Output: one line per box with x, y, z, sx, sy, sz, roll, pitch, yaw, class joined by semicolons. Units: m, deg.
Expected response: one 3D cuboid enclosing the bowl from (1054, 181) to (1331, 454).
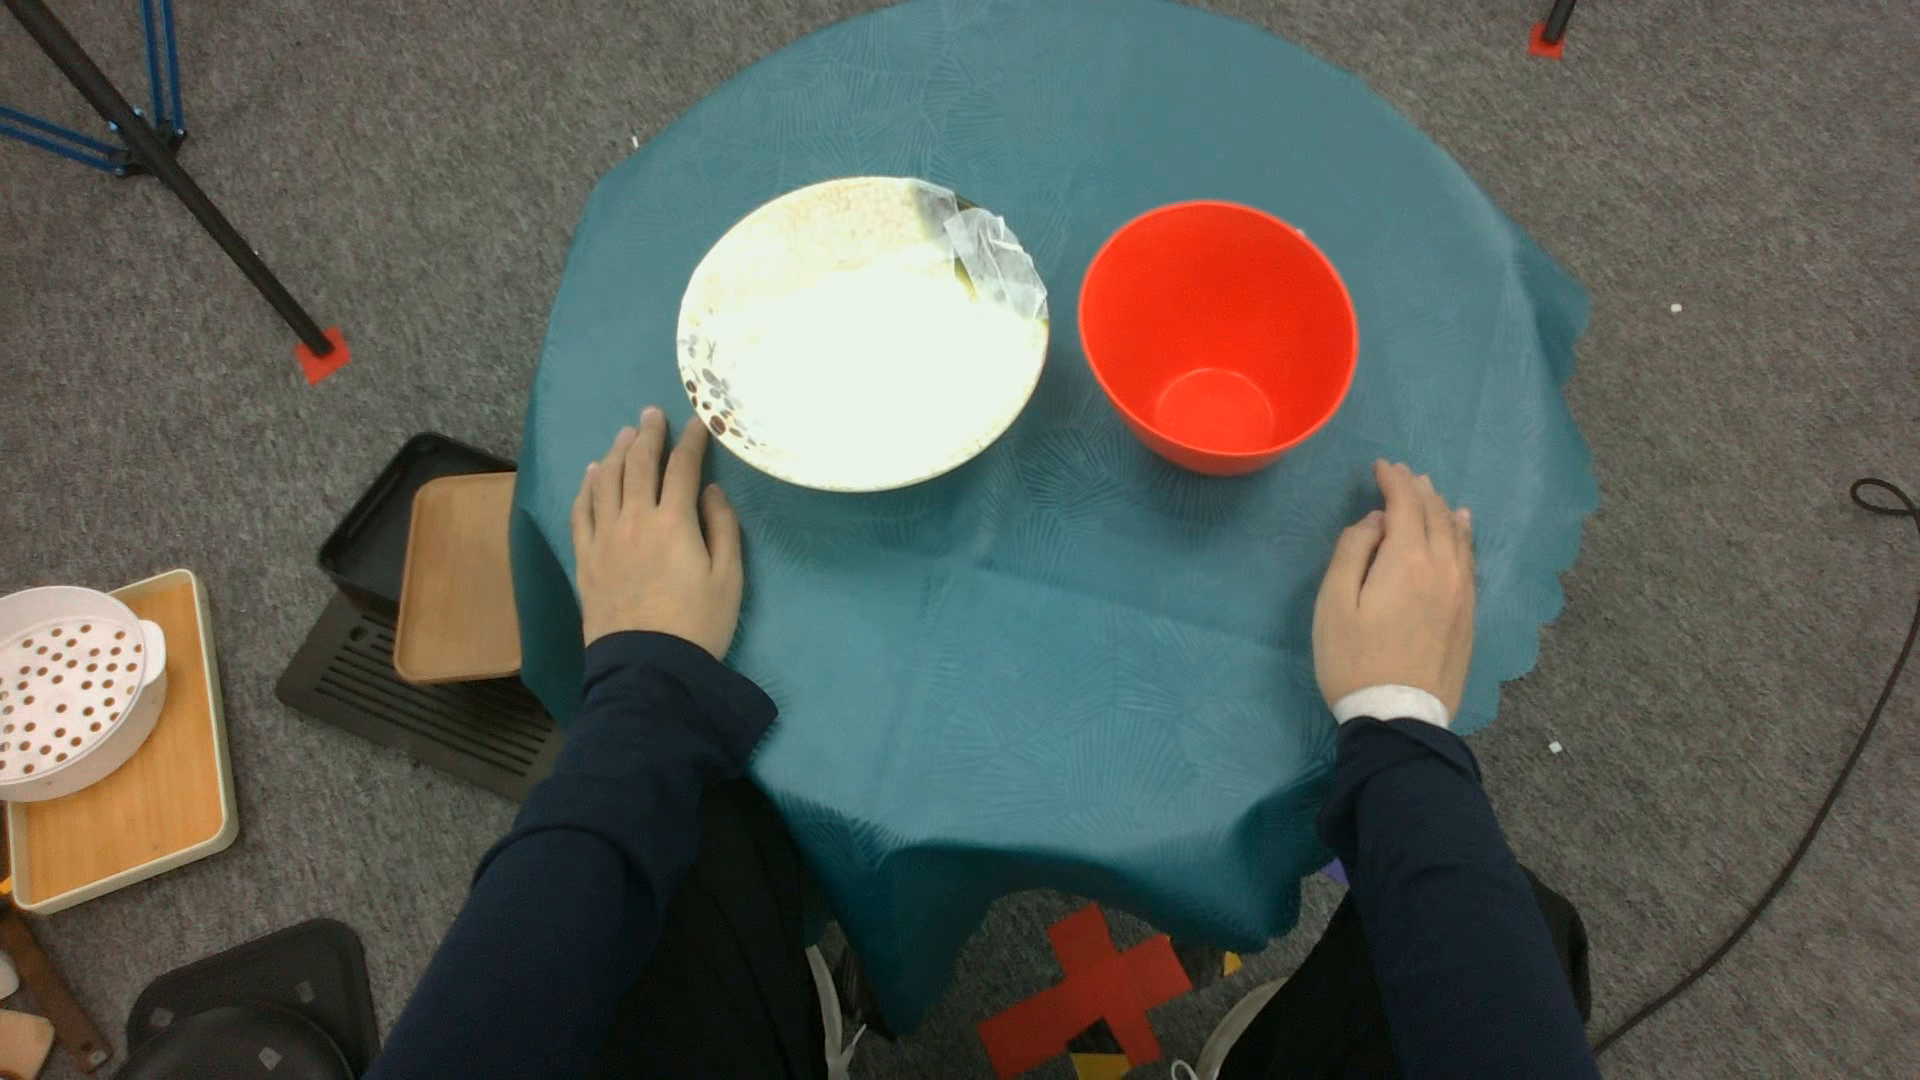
0.124;-0.108;0.760;0.148;0.104;0.148;0;66;1;bowl

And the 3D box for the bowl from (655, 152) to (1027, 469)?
-0.063;-0.115;0.780;0.204;0.077;0.204;-1;66;2;bowl
